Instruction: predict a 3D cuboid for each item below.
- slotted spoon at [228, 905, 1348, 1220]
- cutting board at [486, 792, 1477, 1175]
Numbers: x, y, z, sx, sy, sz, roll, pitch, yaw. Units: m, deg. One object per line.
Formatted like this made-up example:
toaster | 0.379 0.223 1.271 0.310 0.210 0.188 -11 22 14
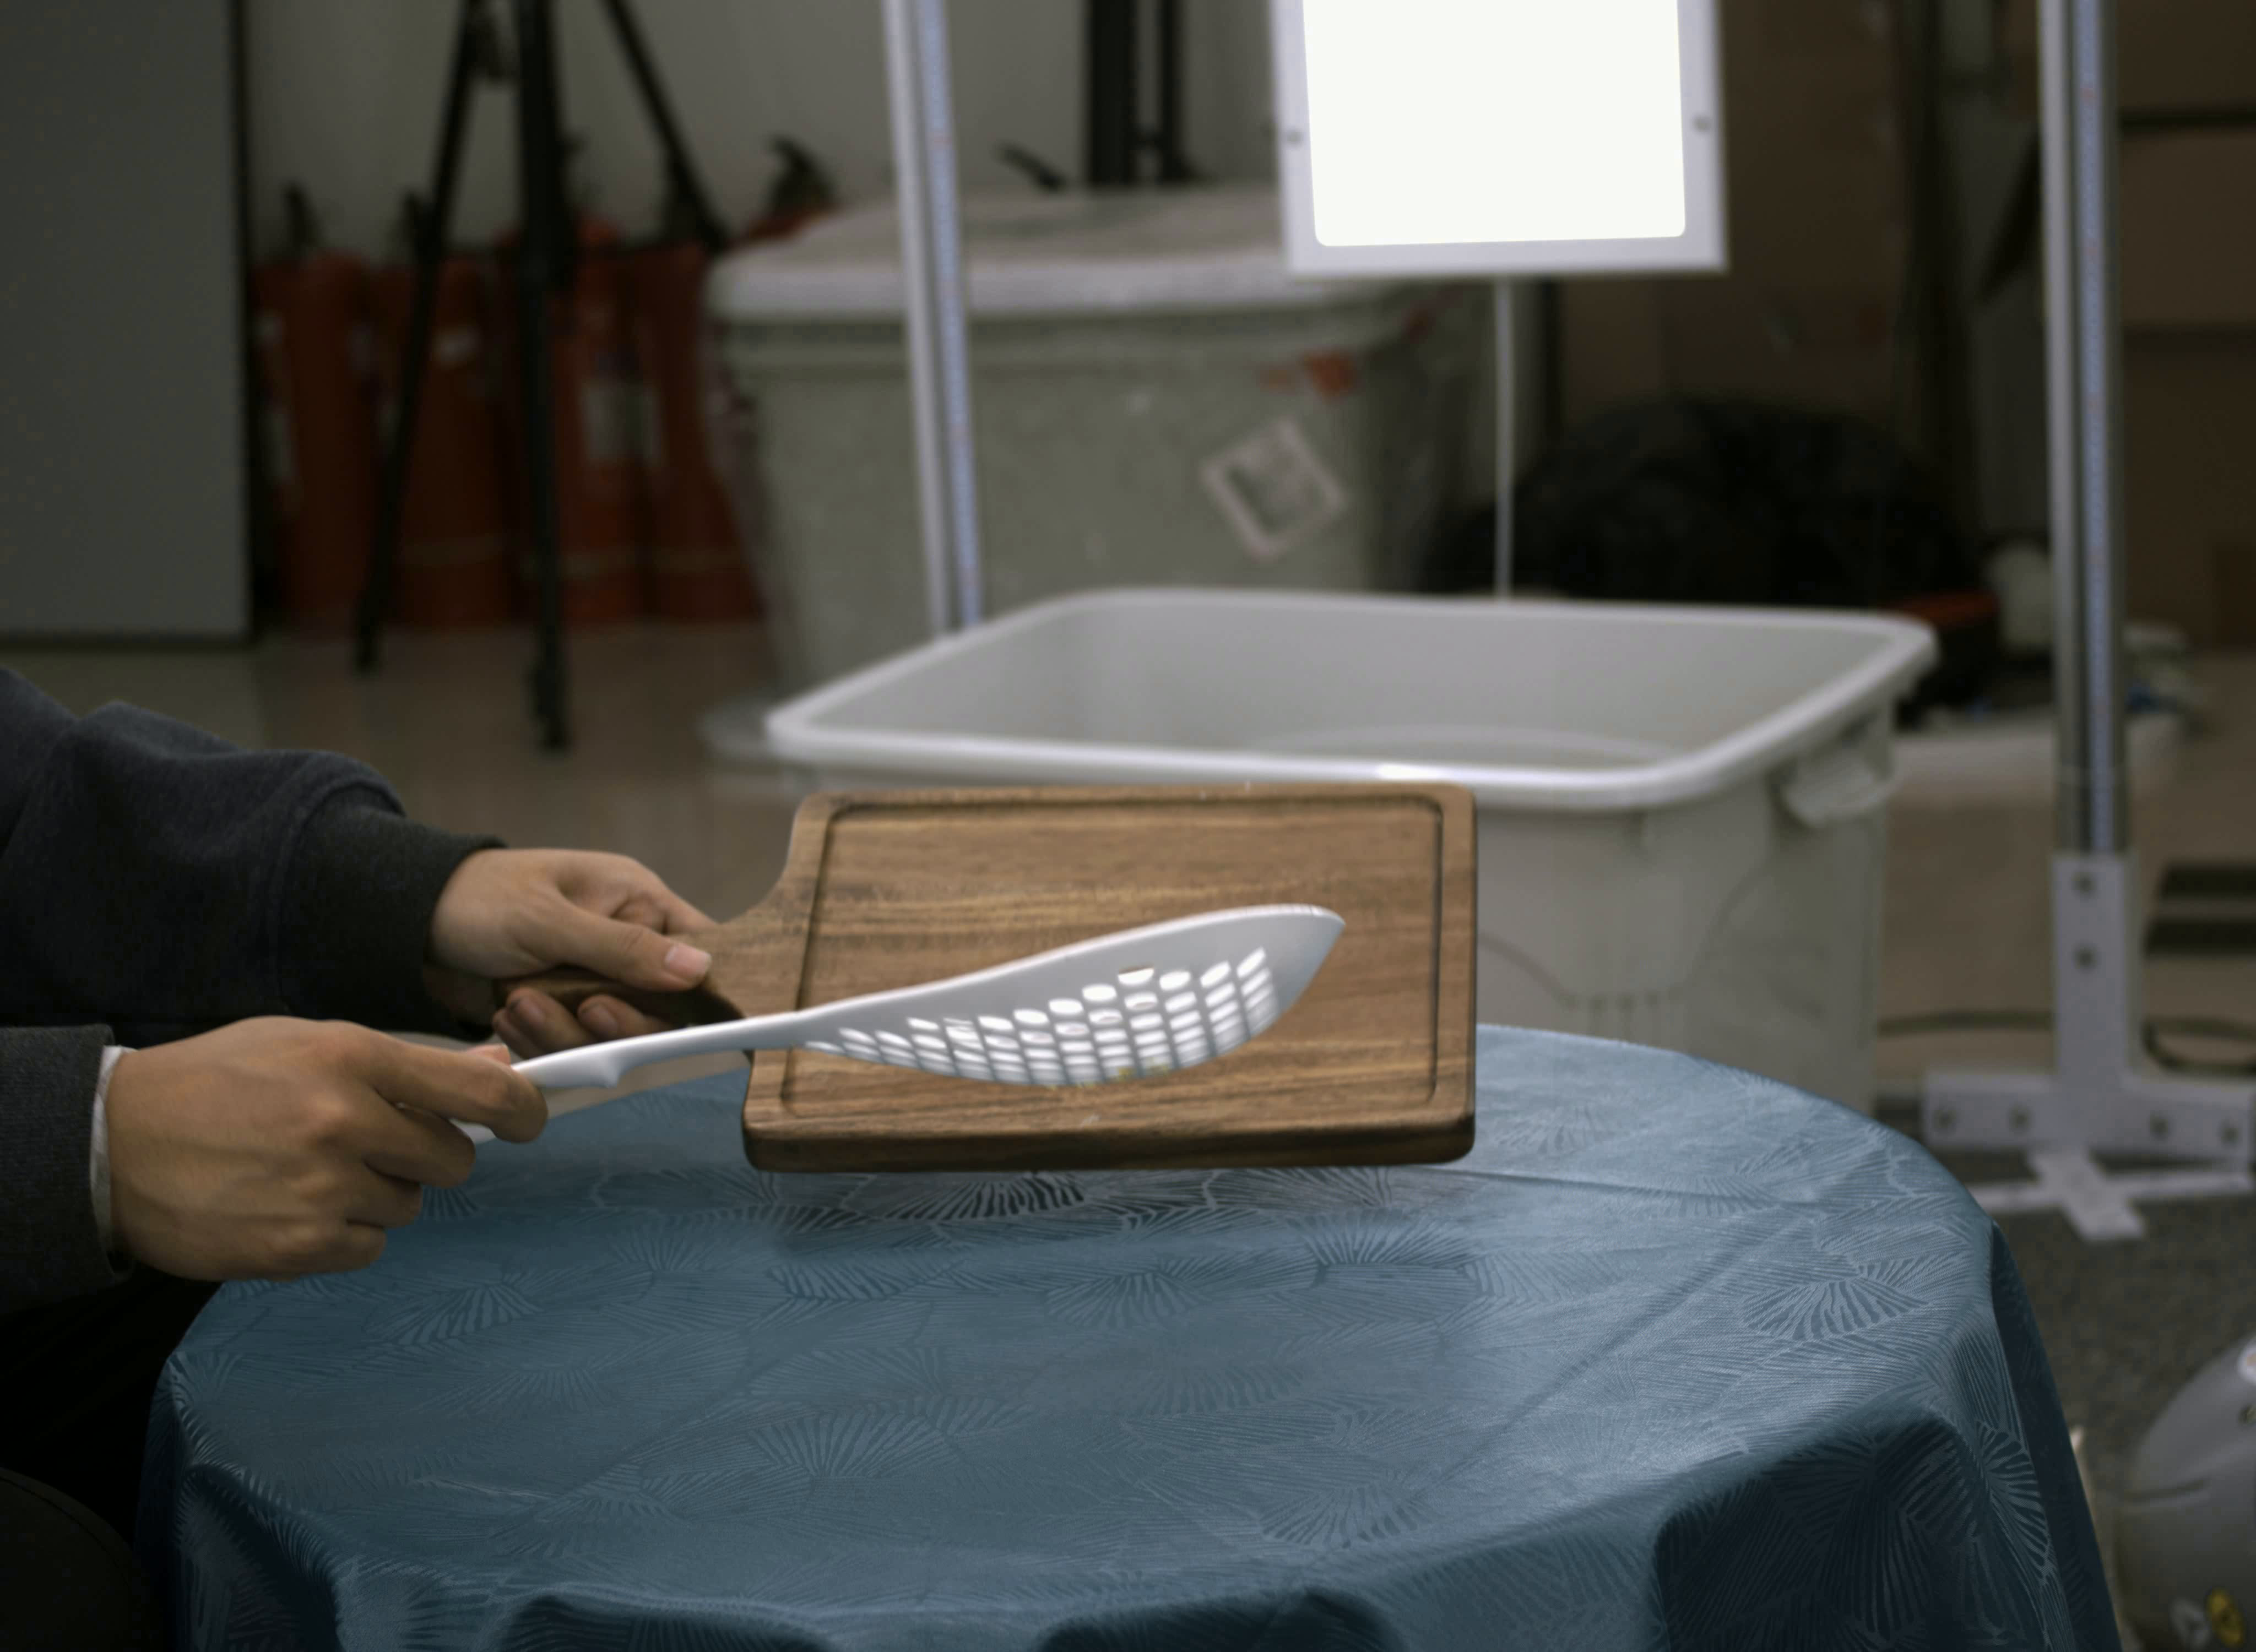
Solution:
slotted spoon | -0.102 0.072 1.671 0.347 0.050 0.136 -7 -5 1
cutting board | -0.052 0.053 1.942 0.353 0.023 0.199 -1 36 7
